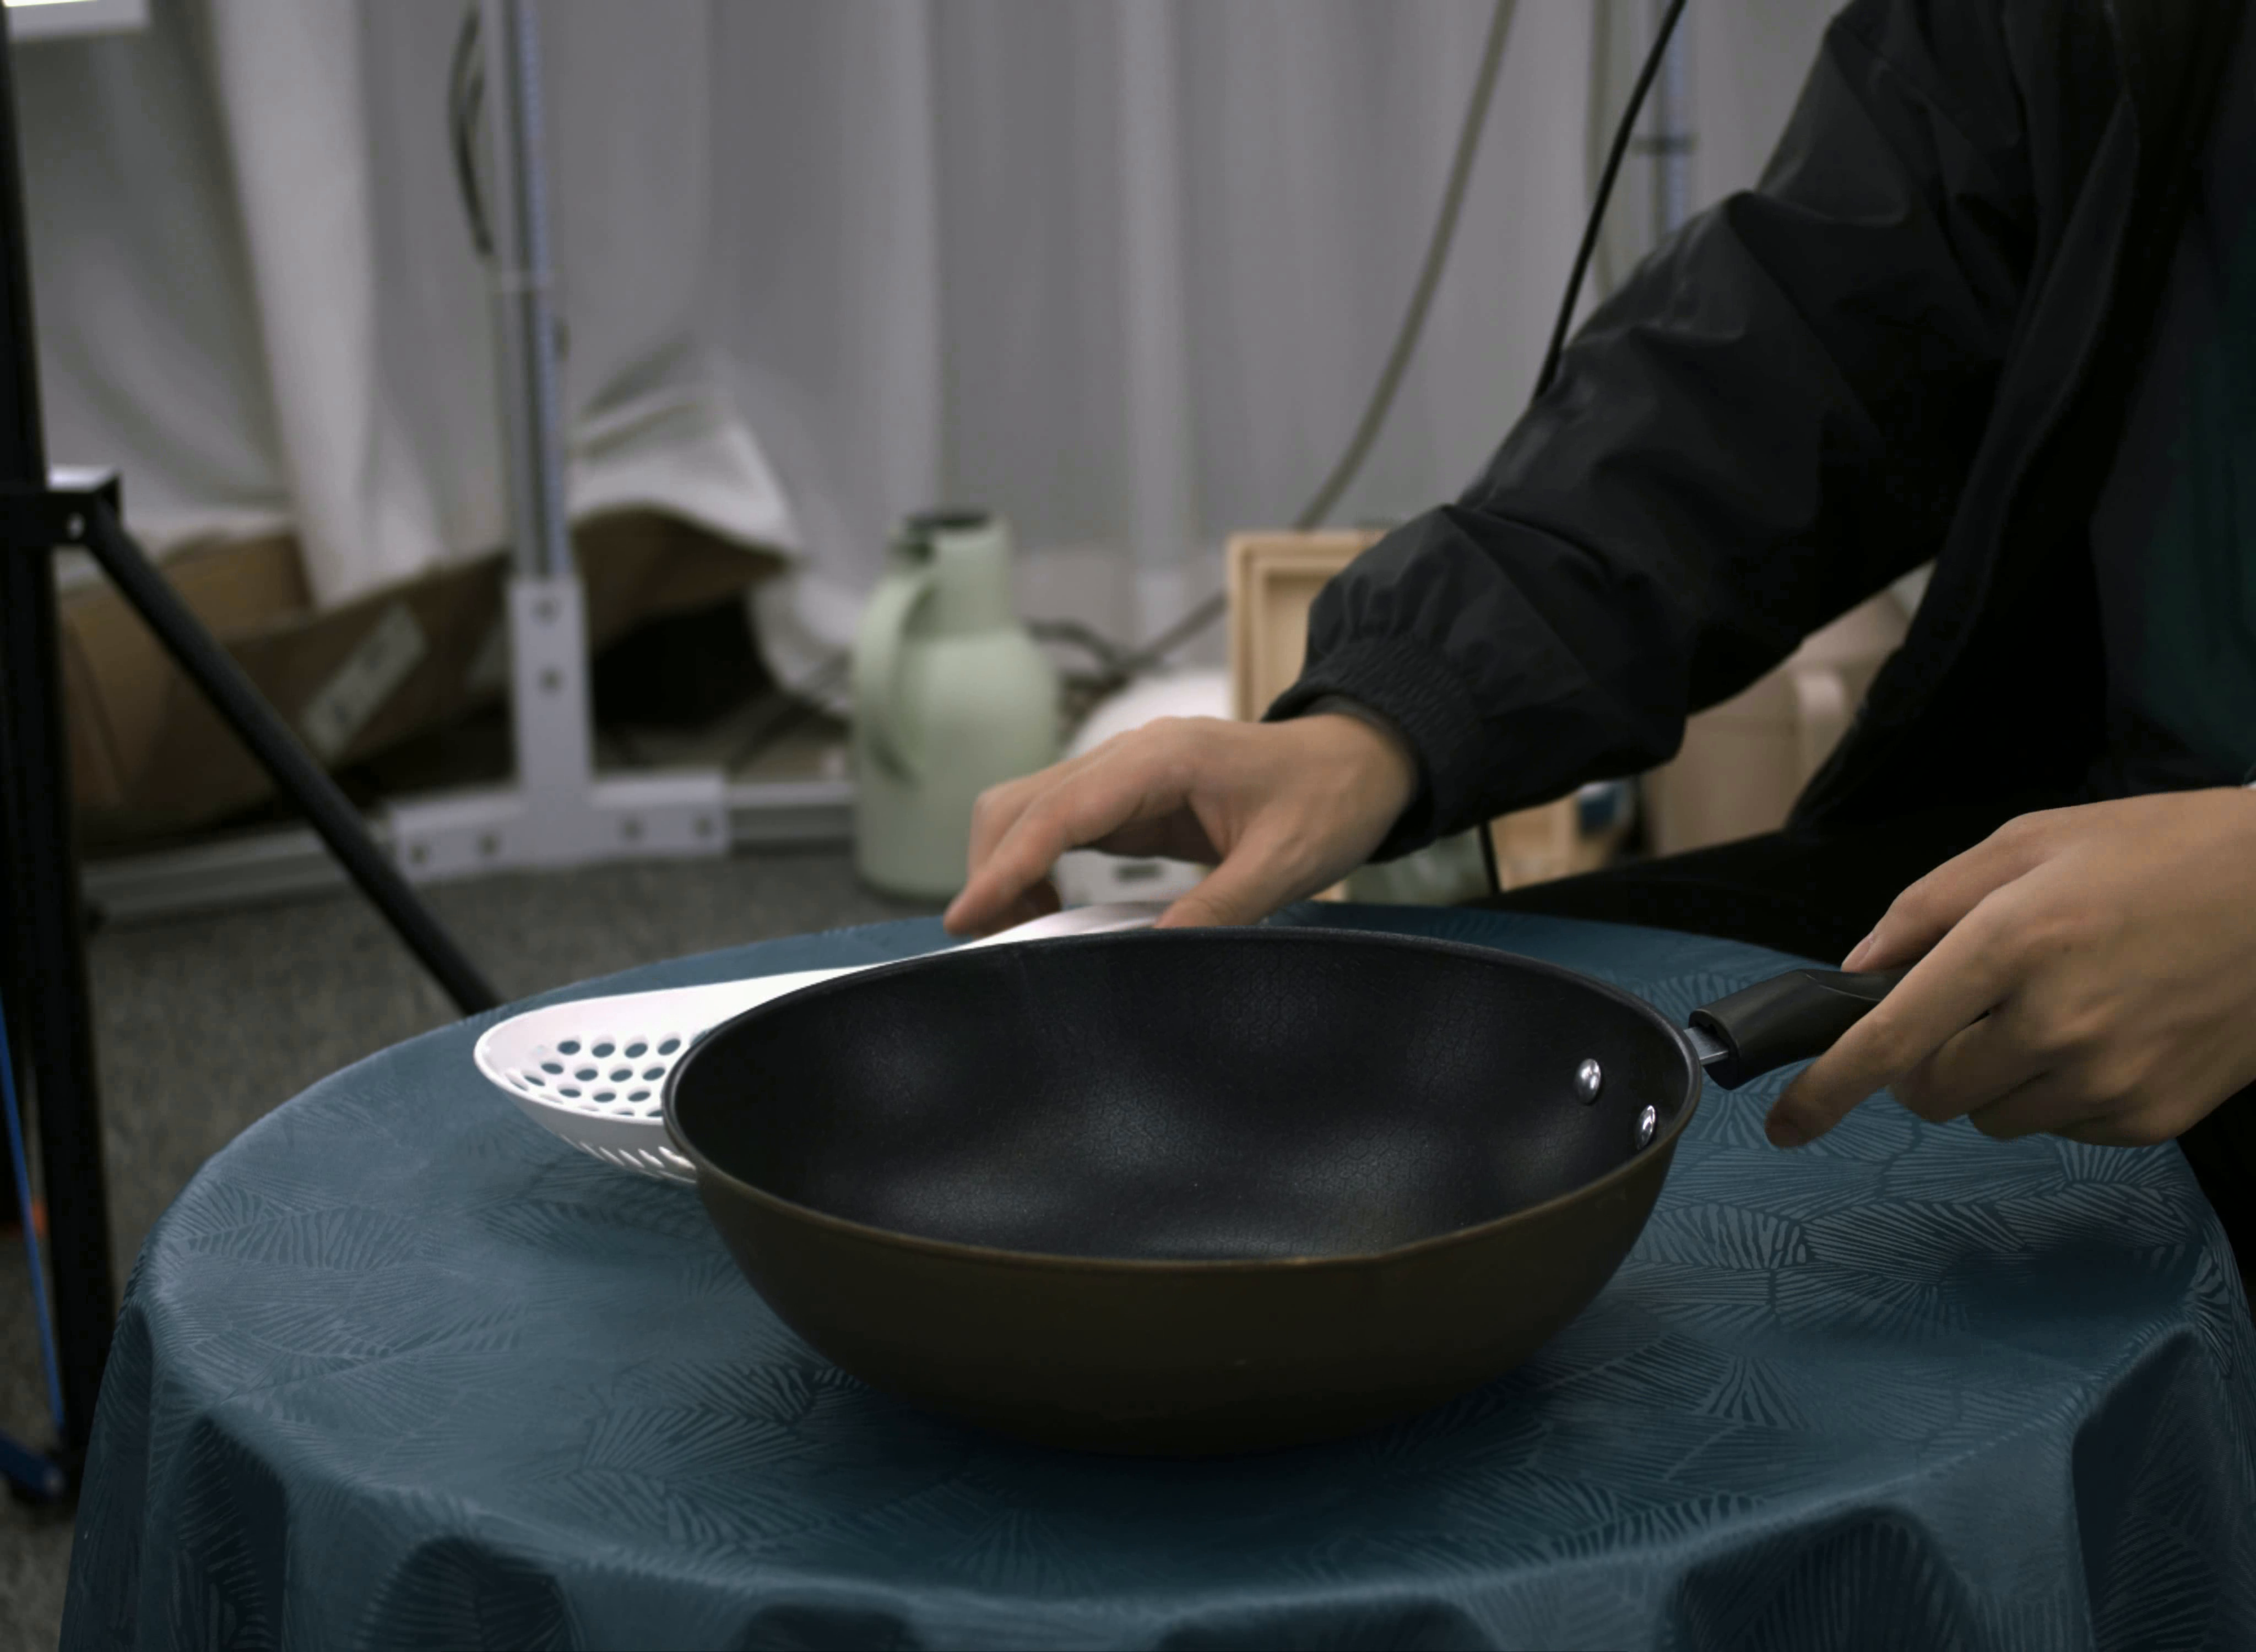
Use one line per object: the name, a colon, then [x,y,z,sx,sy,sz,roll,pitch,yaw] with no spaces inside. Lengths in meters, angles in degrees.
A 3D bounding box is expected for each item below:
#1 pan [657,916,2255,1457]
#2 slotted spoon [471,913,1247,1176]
pan: [0.100,0.092,1.446,0.456,0.087,0.293,-6,16,-16]
slotted spoon: [-0.060,0.057,1.674,0.140,0.050,0.340,10,20,36]
